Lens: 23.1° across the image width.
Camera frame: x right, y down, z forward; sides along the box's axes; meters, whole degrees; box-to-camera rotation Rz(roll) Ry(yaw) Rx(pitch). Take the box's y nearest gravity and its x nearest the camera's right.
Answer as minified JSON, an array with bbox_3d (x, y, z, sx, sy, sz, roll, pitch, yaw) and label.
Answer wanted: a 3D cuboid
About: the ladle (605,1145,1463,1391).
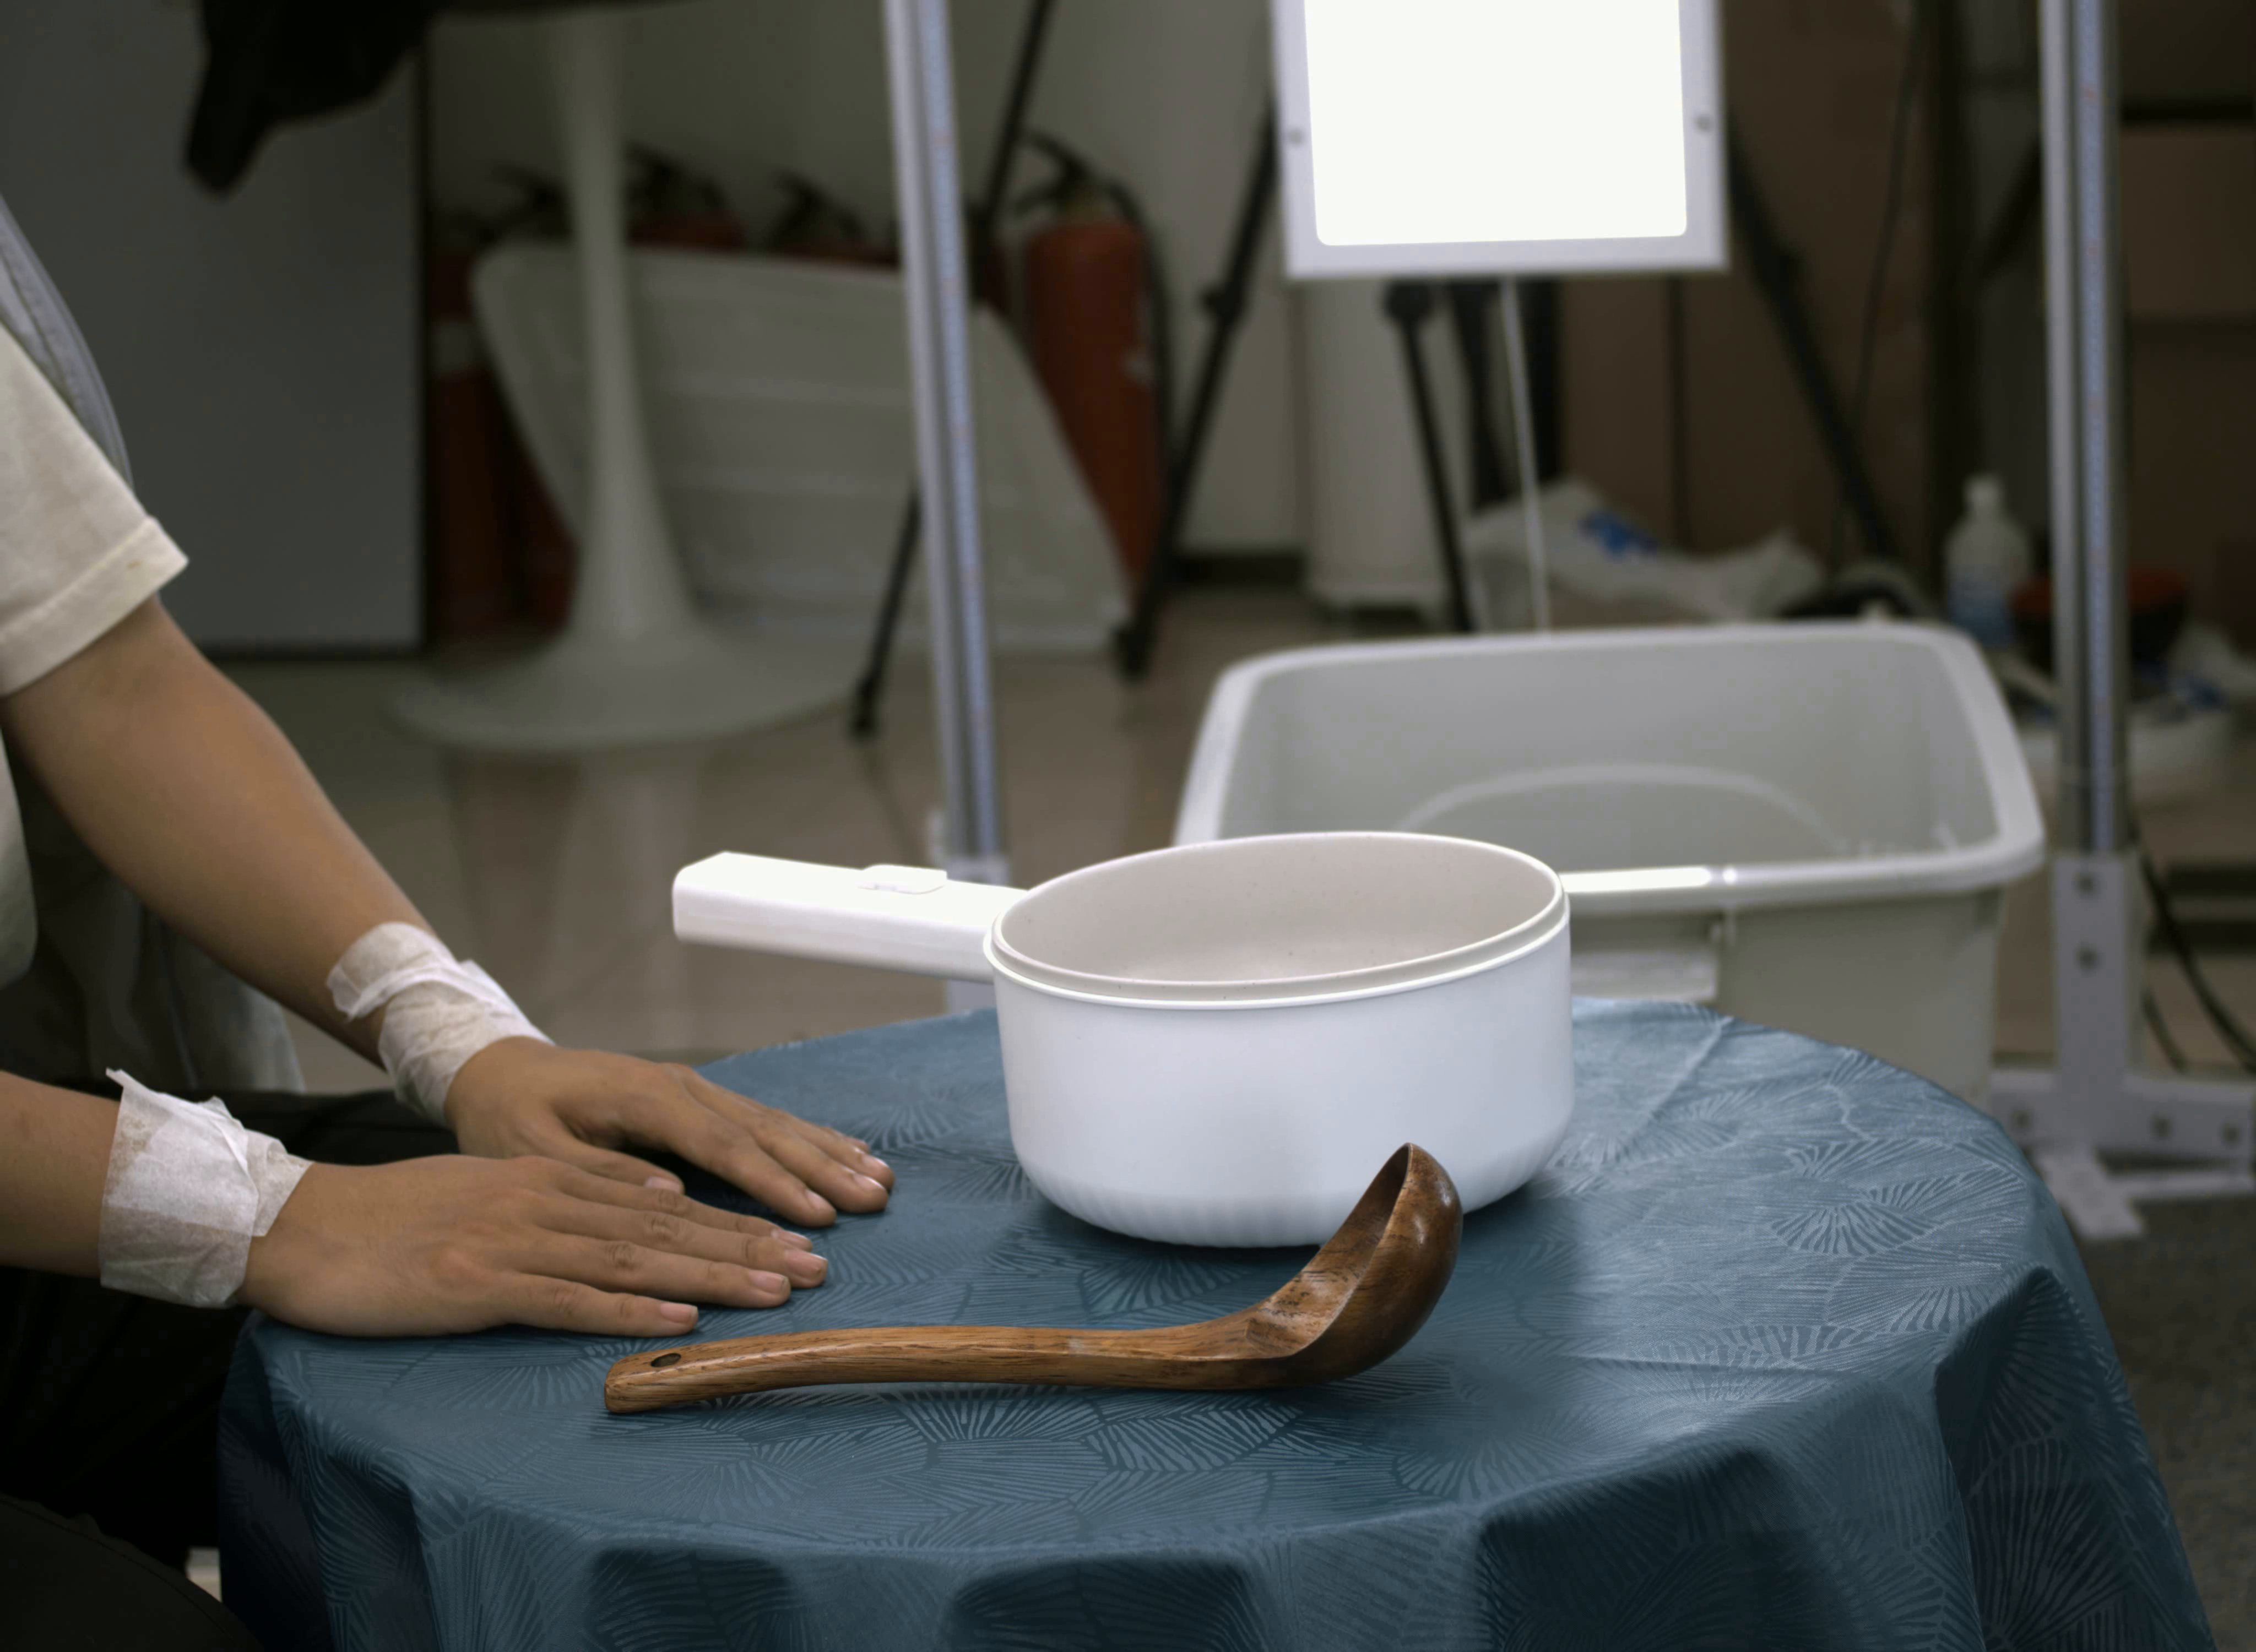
[{"bbox_3d":[-0.032,0.137,1.696,0.276,0.077,0.081,-1,15,13],"label":"ladle"}]

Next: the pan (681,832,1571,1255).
[{"bbox_3d":[-0.009,0.070,1.923,0.362,0.102,0.196,5,17,37],"label":"pan"}]
